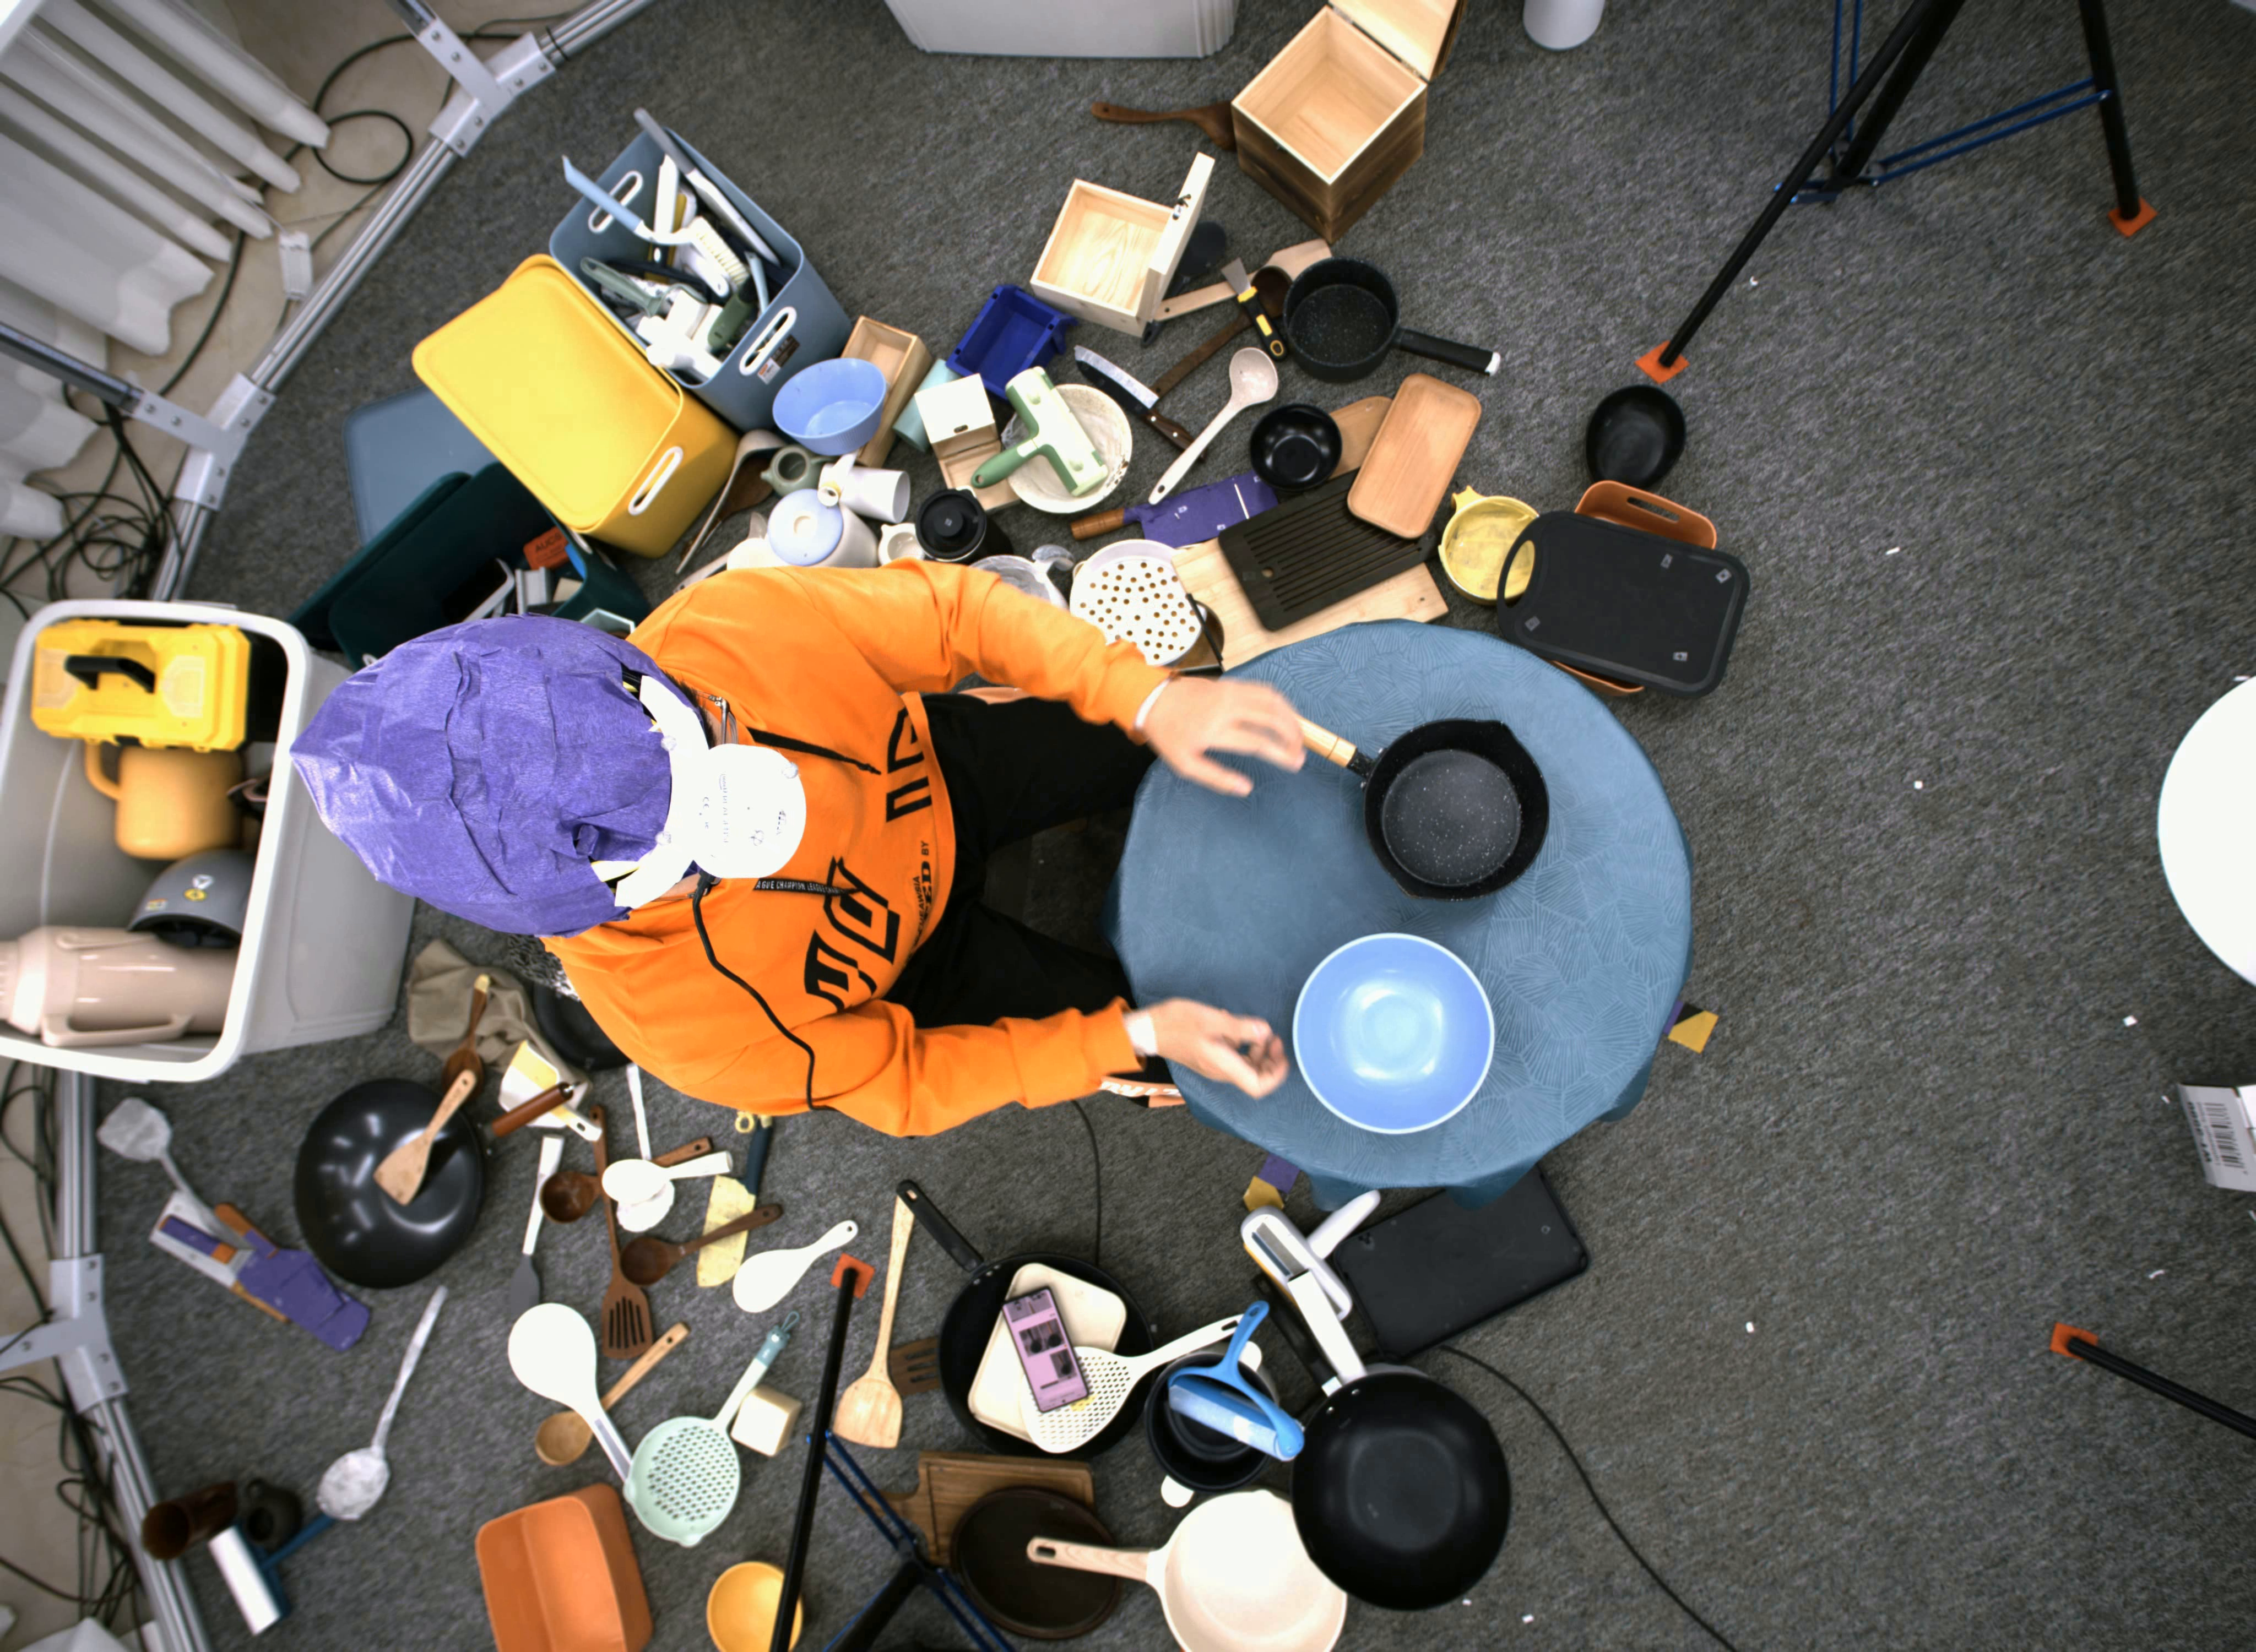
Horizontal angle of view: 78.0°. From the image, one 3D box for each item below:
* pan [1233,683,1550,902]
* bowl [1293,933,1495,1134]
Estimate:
[{"bbox_3d":[0.262,-0.052,1.414,0.342,0.108,0.208,27,93,9],"label":"pan"},{"bbox_3d":[0.268,0.206,1.404,0.197,0.095,0.196,-1,87,10],"label":"bowl"}]
